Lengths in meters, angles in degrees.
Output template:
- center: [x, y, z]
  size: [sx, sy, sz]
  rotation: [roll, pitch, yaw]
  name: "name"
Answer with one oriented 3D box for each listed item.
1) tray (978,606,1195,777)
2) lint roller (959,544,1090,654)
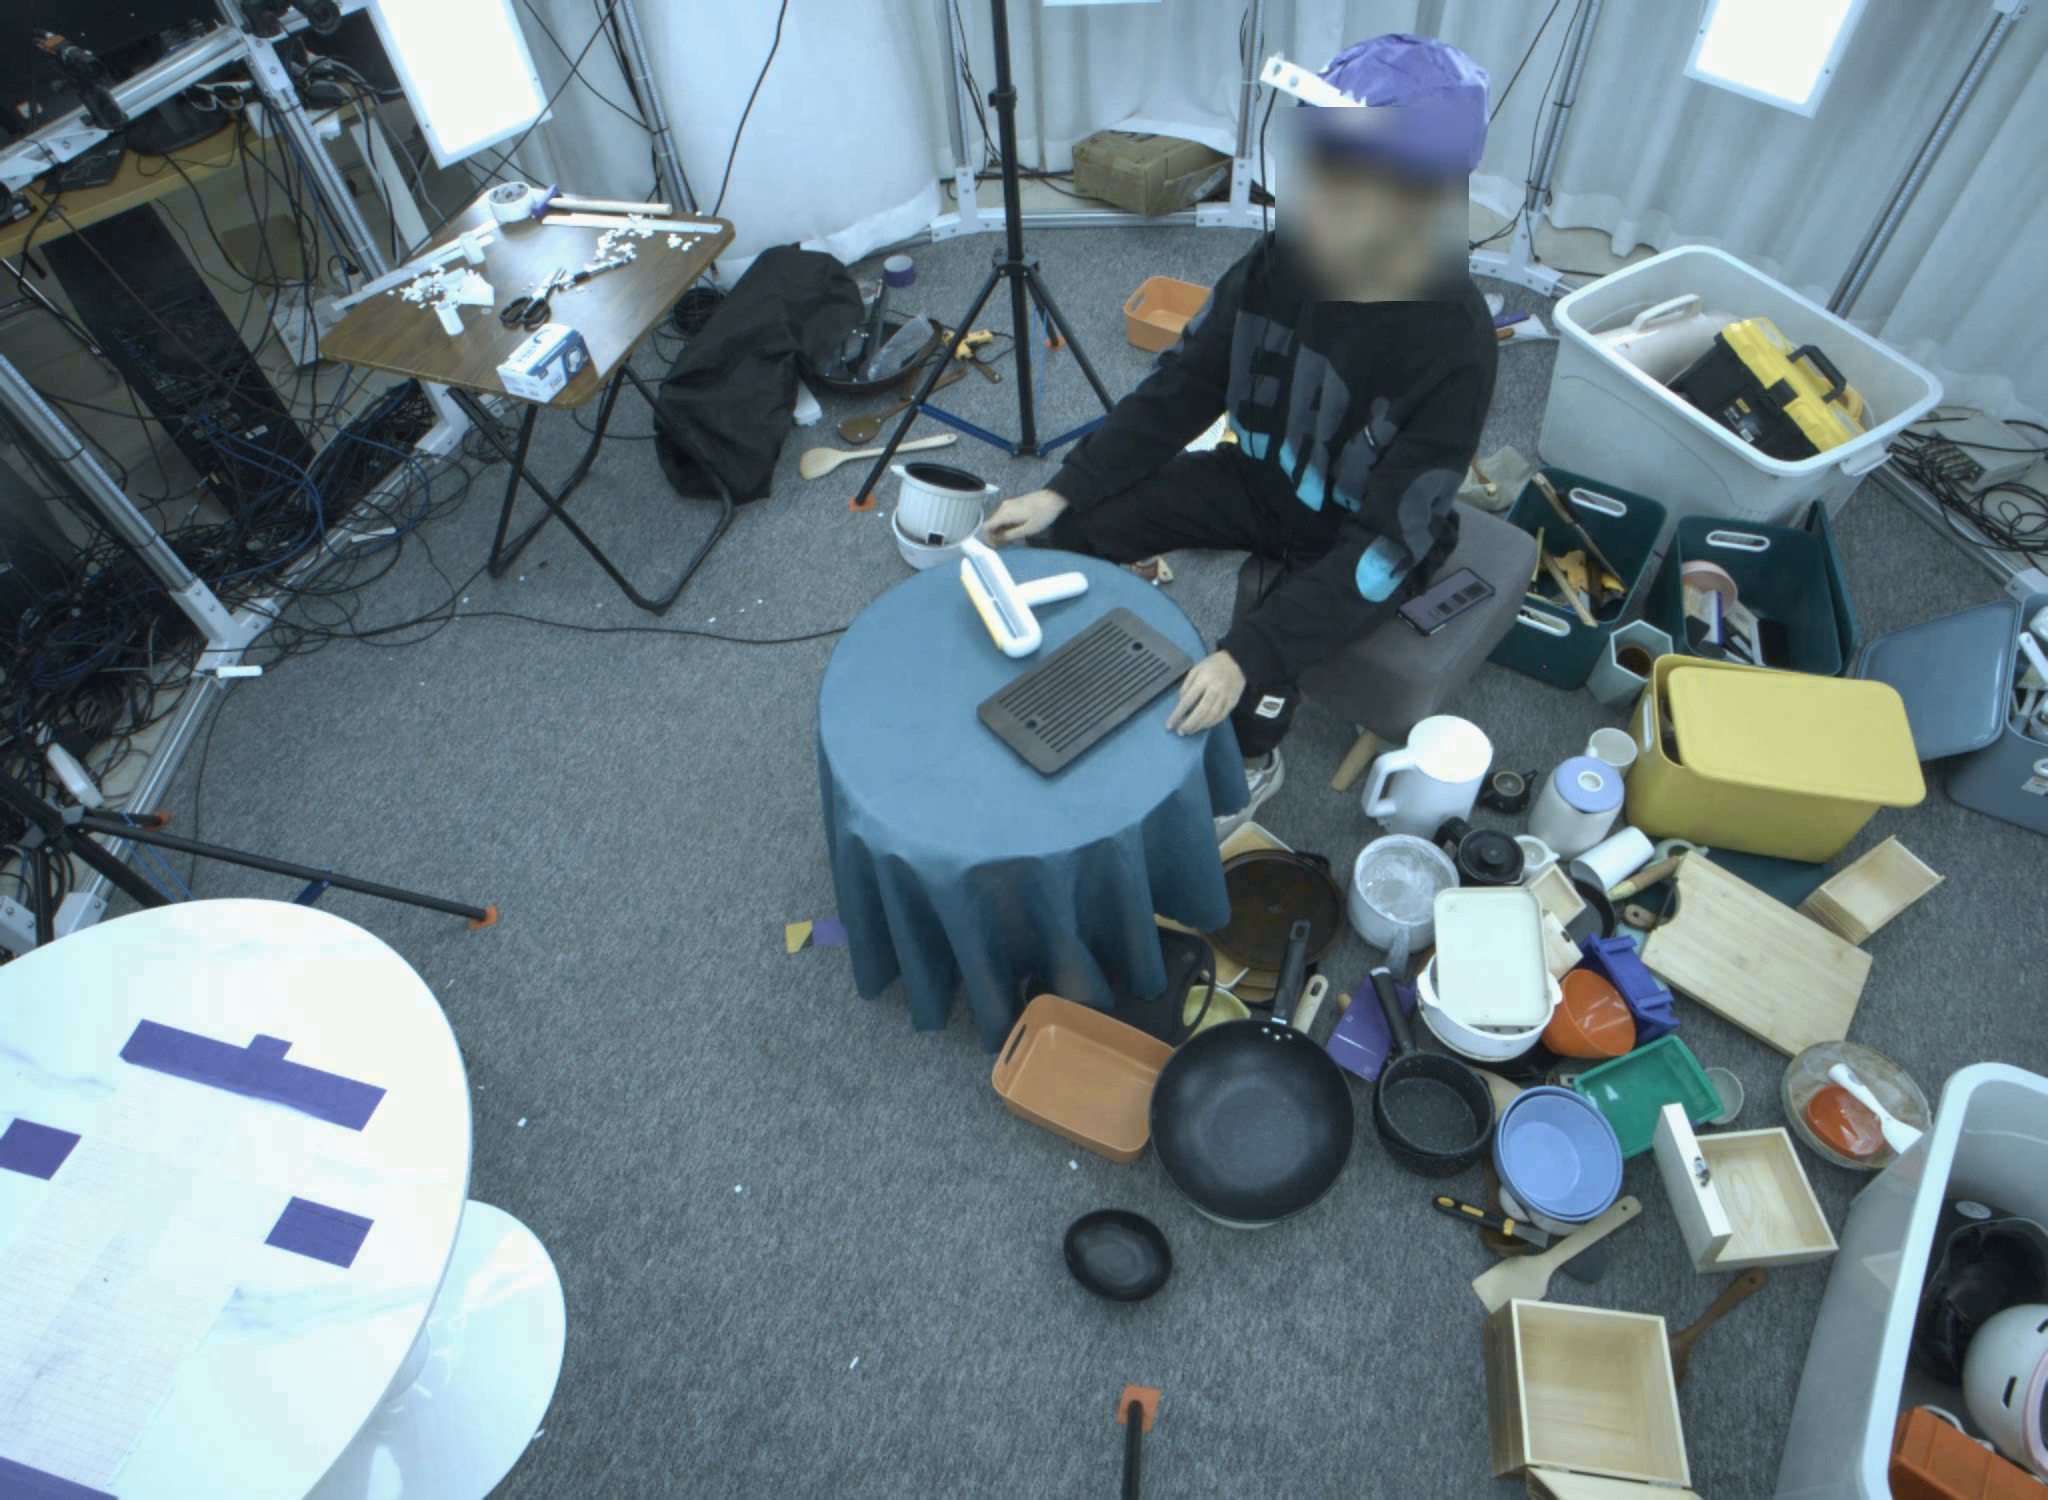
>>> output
- center: [0.094, -0.091, 1.833]
  size: [0.308, 0.019, 0.167]
  rotation: [-37, 61, -22]
  name: "tray"
- center: [0.014, -0.249, 1.917]
  size: [0.194, 0.075, 0.190]
  rotation: [-19, 63, -13]
  name: "lint roller"
